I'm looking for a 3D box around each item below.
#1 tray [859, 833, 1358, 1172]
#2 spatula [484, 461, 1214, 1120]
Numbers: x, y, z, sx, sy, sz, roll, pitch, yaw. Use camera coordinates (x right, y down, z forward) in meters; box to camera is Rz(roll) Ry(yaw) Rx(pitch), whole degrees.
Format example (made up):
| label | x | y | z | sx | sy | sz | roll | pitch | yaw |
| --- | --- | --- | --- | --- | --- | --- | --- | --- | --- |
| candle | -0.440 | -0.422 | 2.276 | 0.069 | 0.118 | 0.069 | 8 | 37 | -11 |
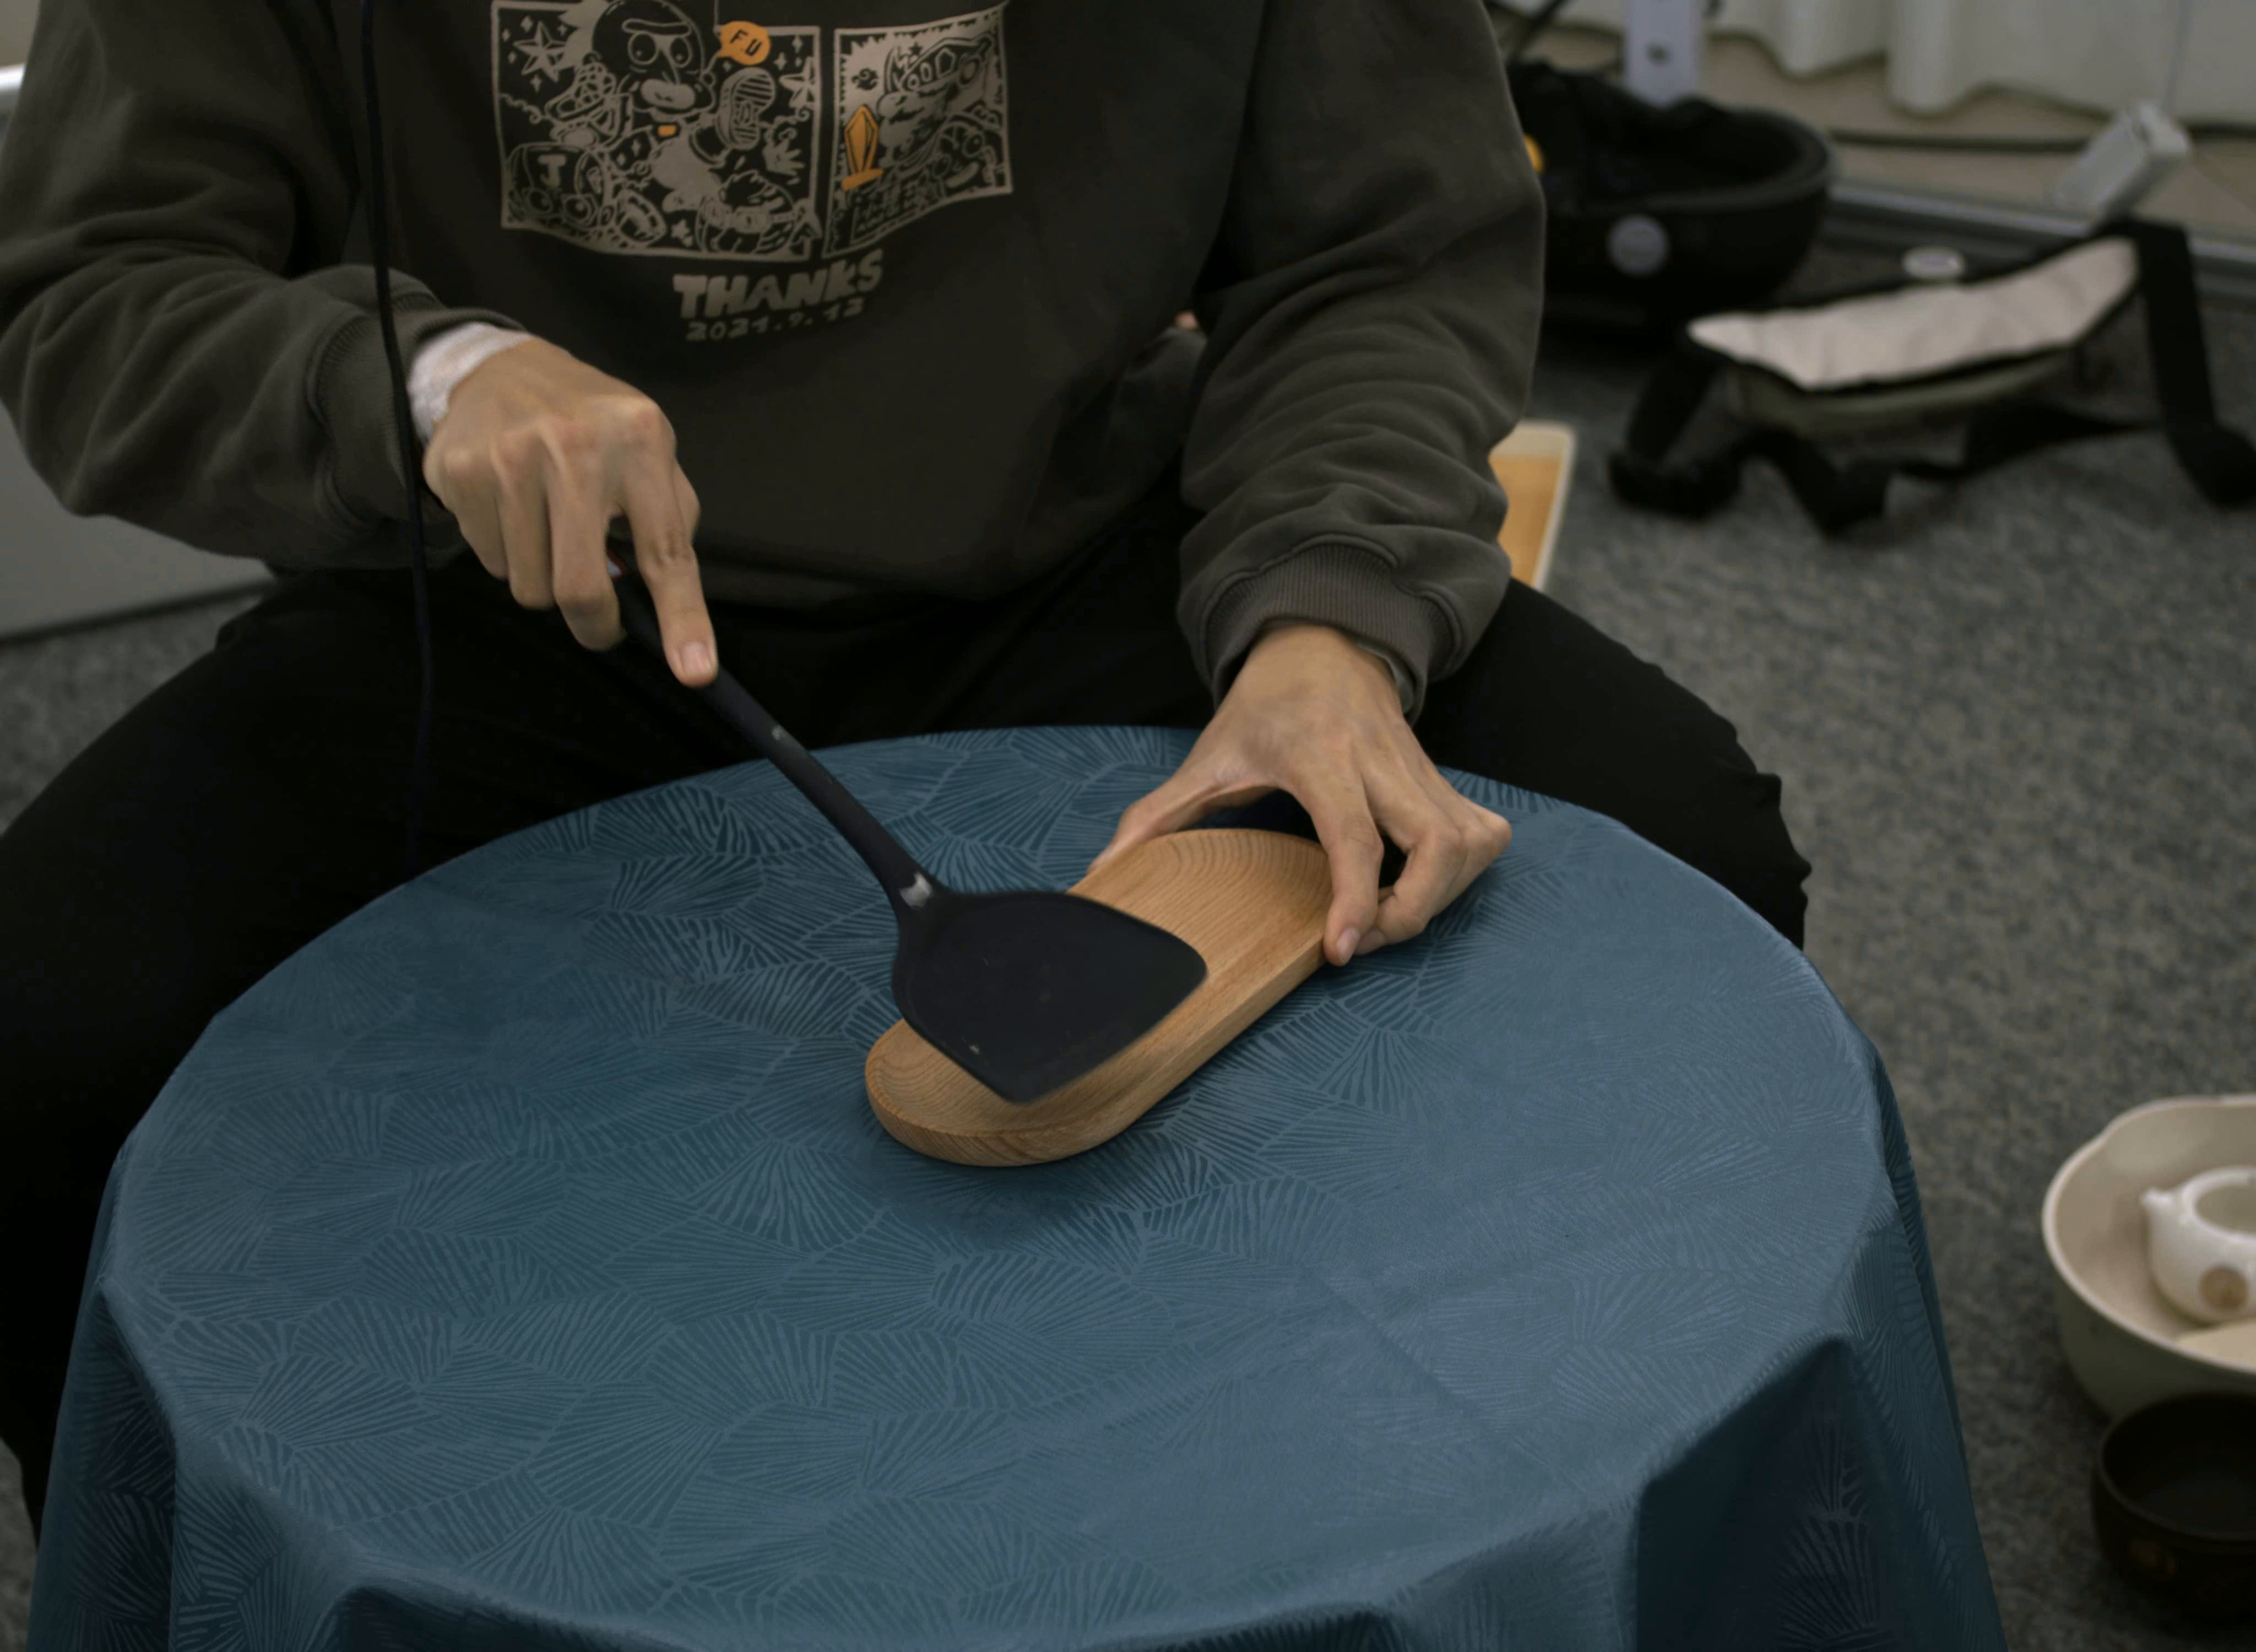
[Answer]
| label | x | y | z | sx | sy | sz | roll | pitch | yaw |
| --- | --- | --- | --- | --- | --- | --- | --- | --- | --- |
| tray | -0.004 | 0.060 | 1.961 | 0.101 | 0.020 | 0.235 | 14 | 33 | 31 |
| spatula | -0.111 | -0.023 | 1.920 | 0.101 | 0.039 | 0.327 | -32 | 69 | -36 |
